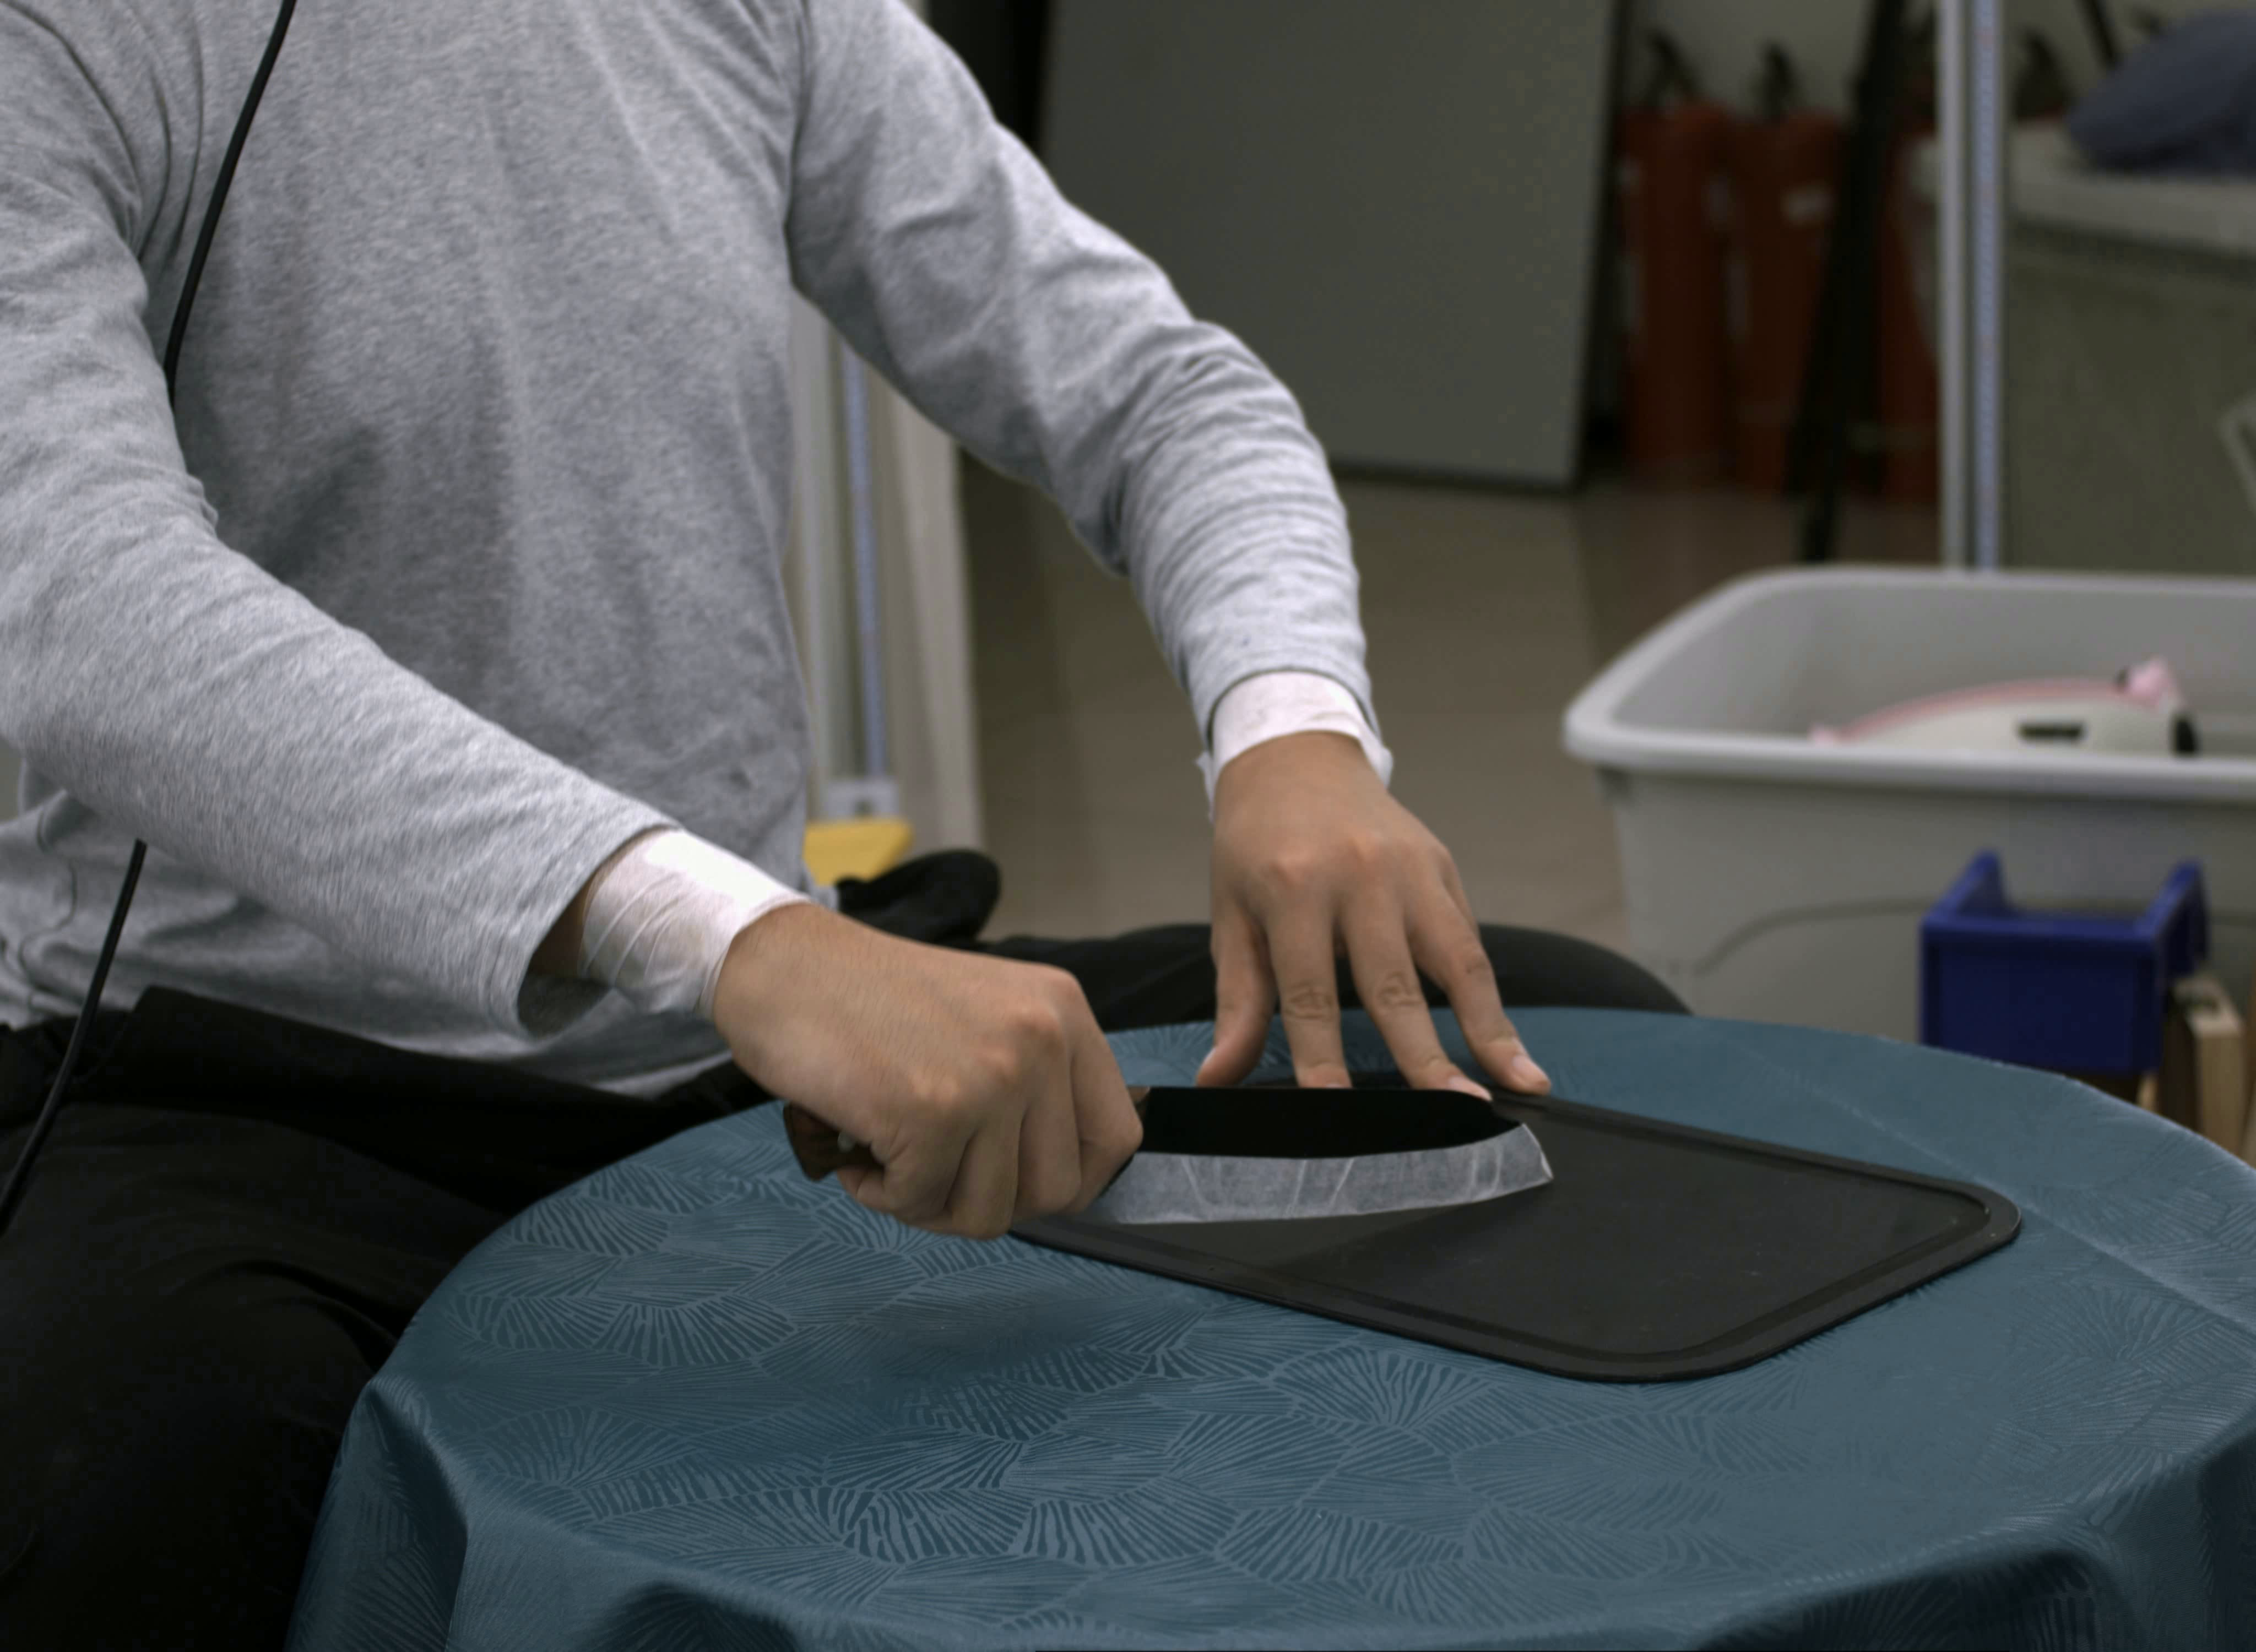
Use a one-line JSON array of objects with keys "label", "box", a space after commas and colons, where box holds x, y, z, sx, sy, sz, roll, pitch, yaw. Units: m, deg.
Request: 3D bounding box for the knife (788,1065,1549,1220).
[{"label": "knife", "box": [0.019, 0.098, 1.669, 0.282, 0.051, 0.020, 6, 9, -33]}]

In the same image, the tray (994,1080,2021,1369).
[{"label": "tray", "box": [0.111, 0.122, 1.727, 0.207, 0.010, 0.328, -16, 18, -42]}]
